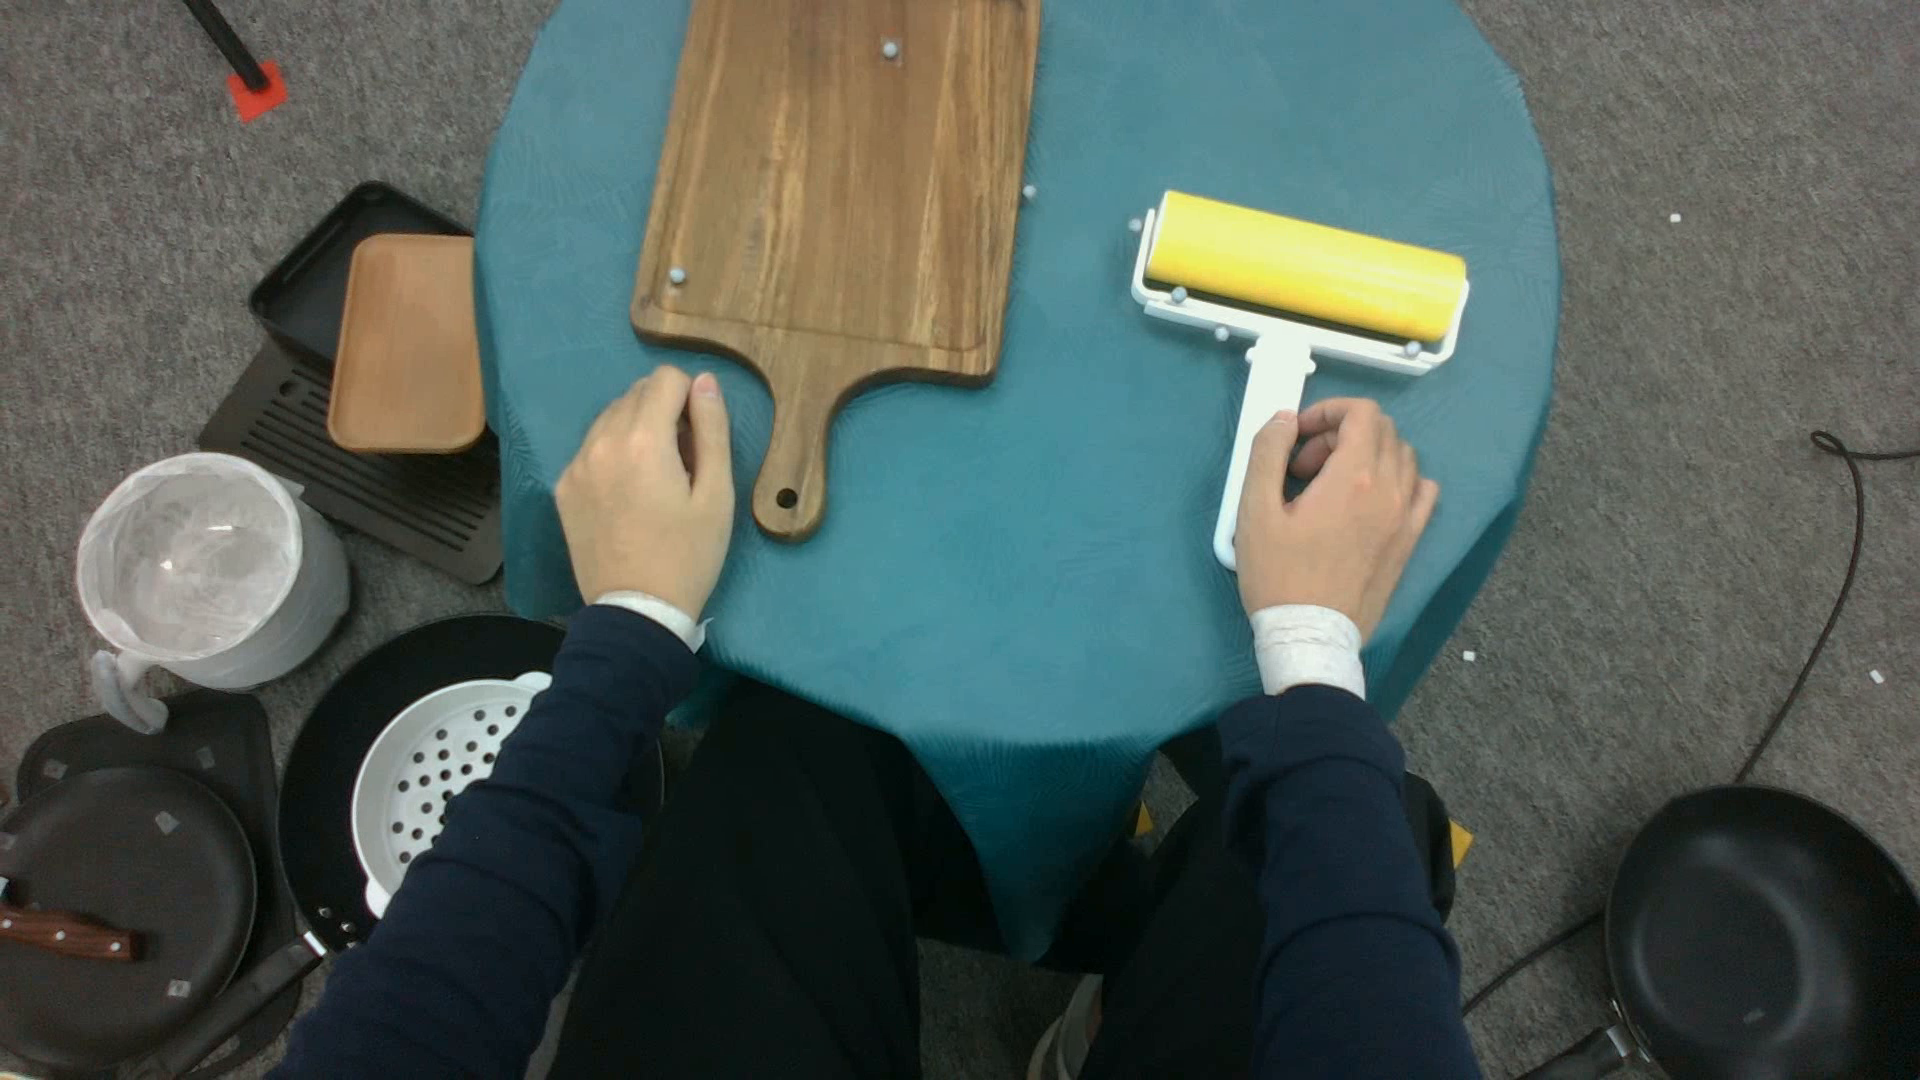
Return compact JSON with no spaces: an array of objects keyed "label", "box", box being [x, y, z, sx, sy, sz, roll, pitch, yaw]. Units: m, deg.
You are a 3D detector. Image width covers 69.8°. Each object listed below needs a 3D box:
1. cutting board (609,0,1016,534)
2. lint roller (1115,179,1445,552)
[{"label":"cutting board","box":[-0.080,-0.173,0.748,0.201,0.023,0.353,7,72,-1]},{"label":"lint roller","box":[0.160,-0.090,0.723,0.174,0.051,0.192,12,69,1]}]
